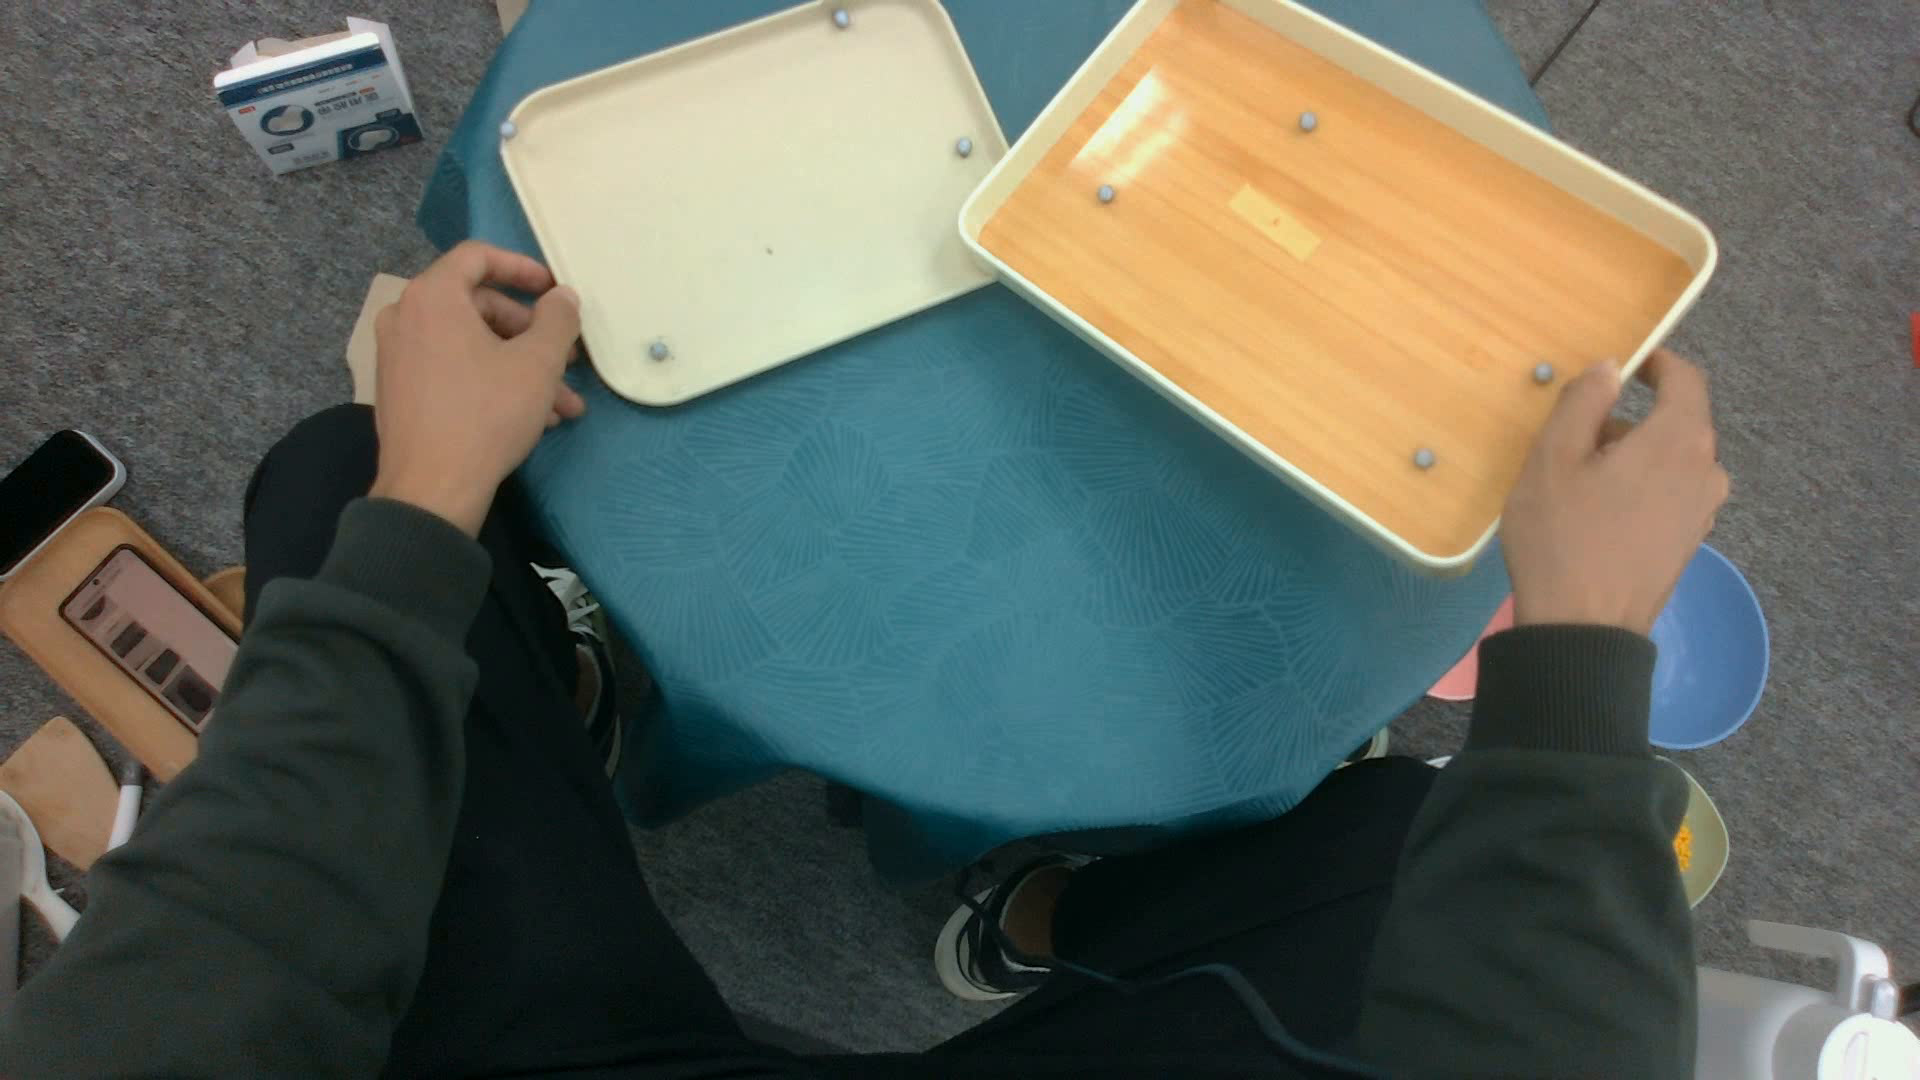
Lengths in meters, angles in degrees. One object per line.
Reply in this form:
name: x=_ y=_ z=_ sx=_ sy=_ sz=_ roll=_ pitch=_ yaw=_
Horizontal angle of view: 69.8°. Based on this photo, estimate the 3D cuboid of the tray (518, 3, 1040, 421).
tray: x=-0.091 y=-0.172 z=0.715 sx=0.240 sy=0.017 sz=0.171 roll=-24 pitch=85 yaw=-12

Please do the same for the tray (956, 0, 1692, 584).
tray: x=0.161 y=-0.133 z=0.661 sx=0.300 sy=0.027 sz=0.192 roll=39 pitch=85 yaw=24
